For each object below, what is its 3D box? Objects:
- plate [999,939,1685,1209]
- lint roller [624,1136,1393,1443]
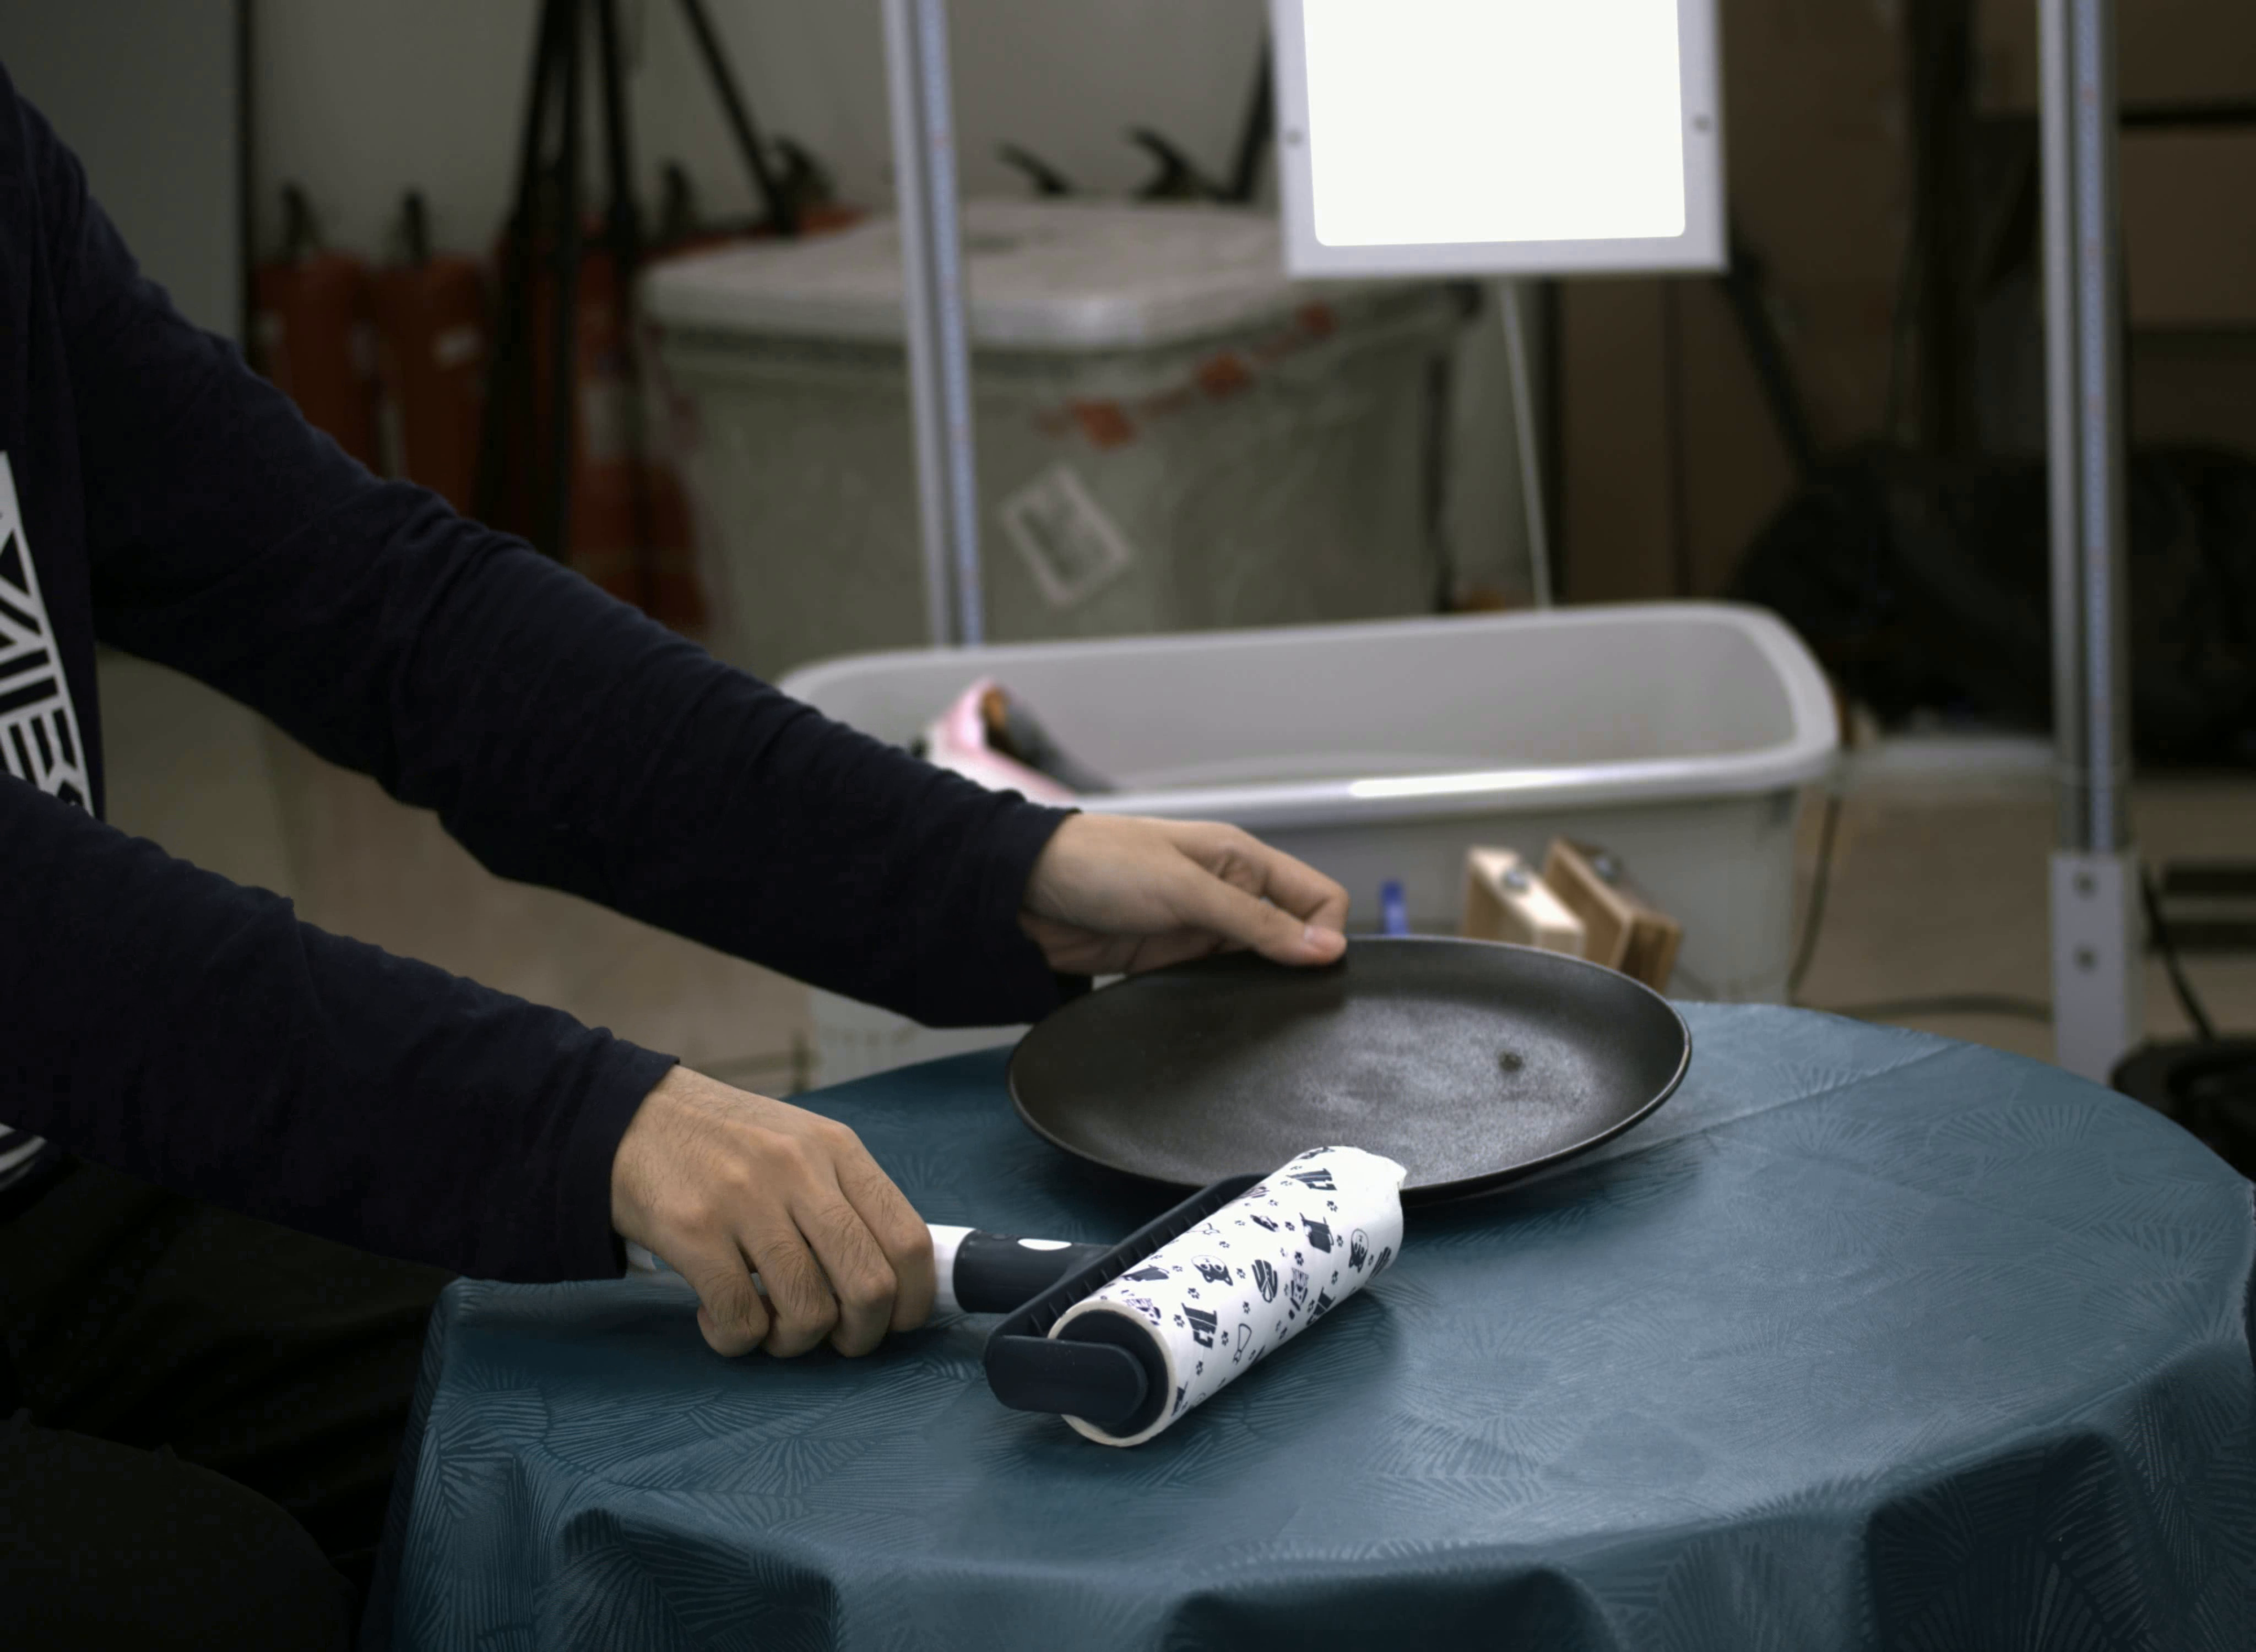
[{"bbox_3d":[0.076,0.091,1.940,0.244,0.023,0.244,-5,19,0],"label":"plate"},{"bbox_3d":[-0.059,0.142,1.767,0.252,0.050,0.172,1,16,30],"label":"lint roller"}]
